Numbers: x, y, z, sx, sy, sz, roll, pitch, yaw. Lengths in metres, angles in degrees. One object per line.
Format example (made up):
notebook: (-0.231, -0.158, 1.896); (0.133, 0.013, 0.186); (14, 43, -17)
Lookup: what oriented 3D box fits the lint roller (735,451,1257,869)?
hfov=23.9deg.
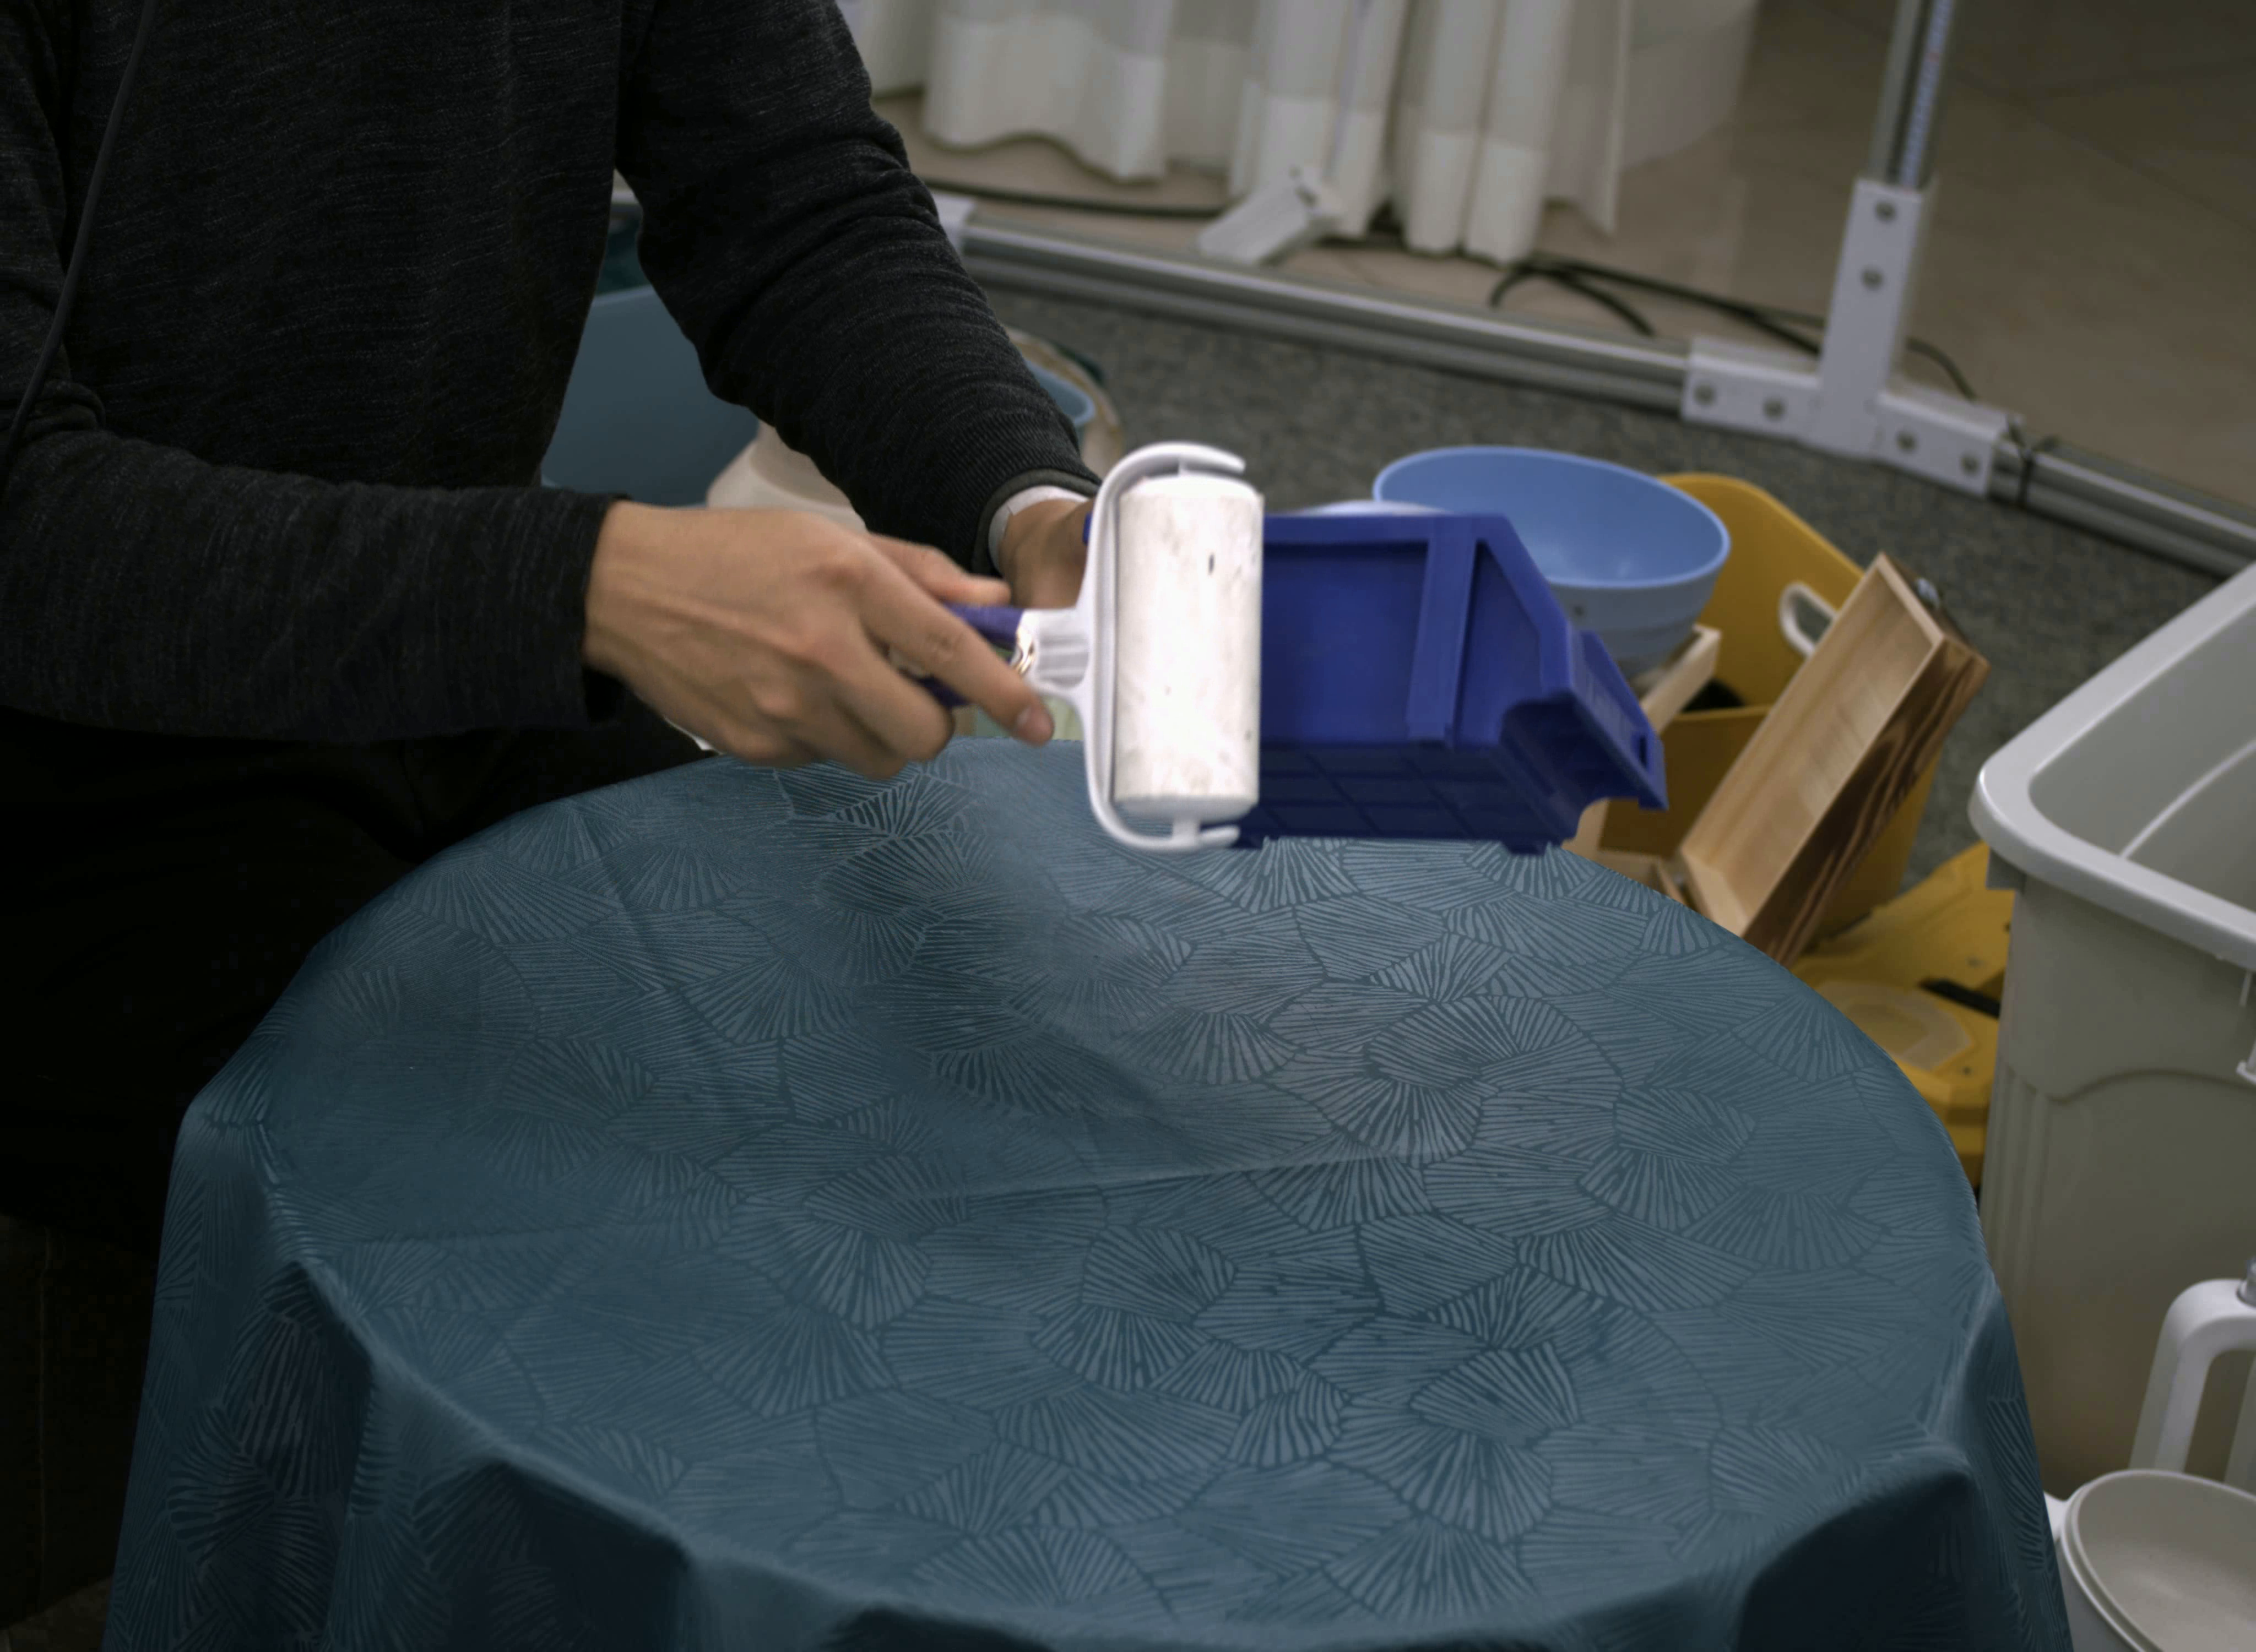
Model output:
lint roller: (-0.046, -0.055, 1.718); (0.181, 0.133, 0.050); (2, -3, 14)

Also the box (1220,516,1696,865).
box: (0.093, -0.044, 1.804); (0.180, 0.082, 0.123); (-2, -20, 23)
